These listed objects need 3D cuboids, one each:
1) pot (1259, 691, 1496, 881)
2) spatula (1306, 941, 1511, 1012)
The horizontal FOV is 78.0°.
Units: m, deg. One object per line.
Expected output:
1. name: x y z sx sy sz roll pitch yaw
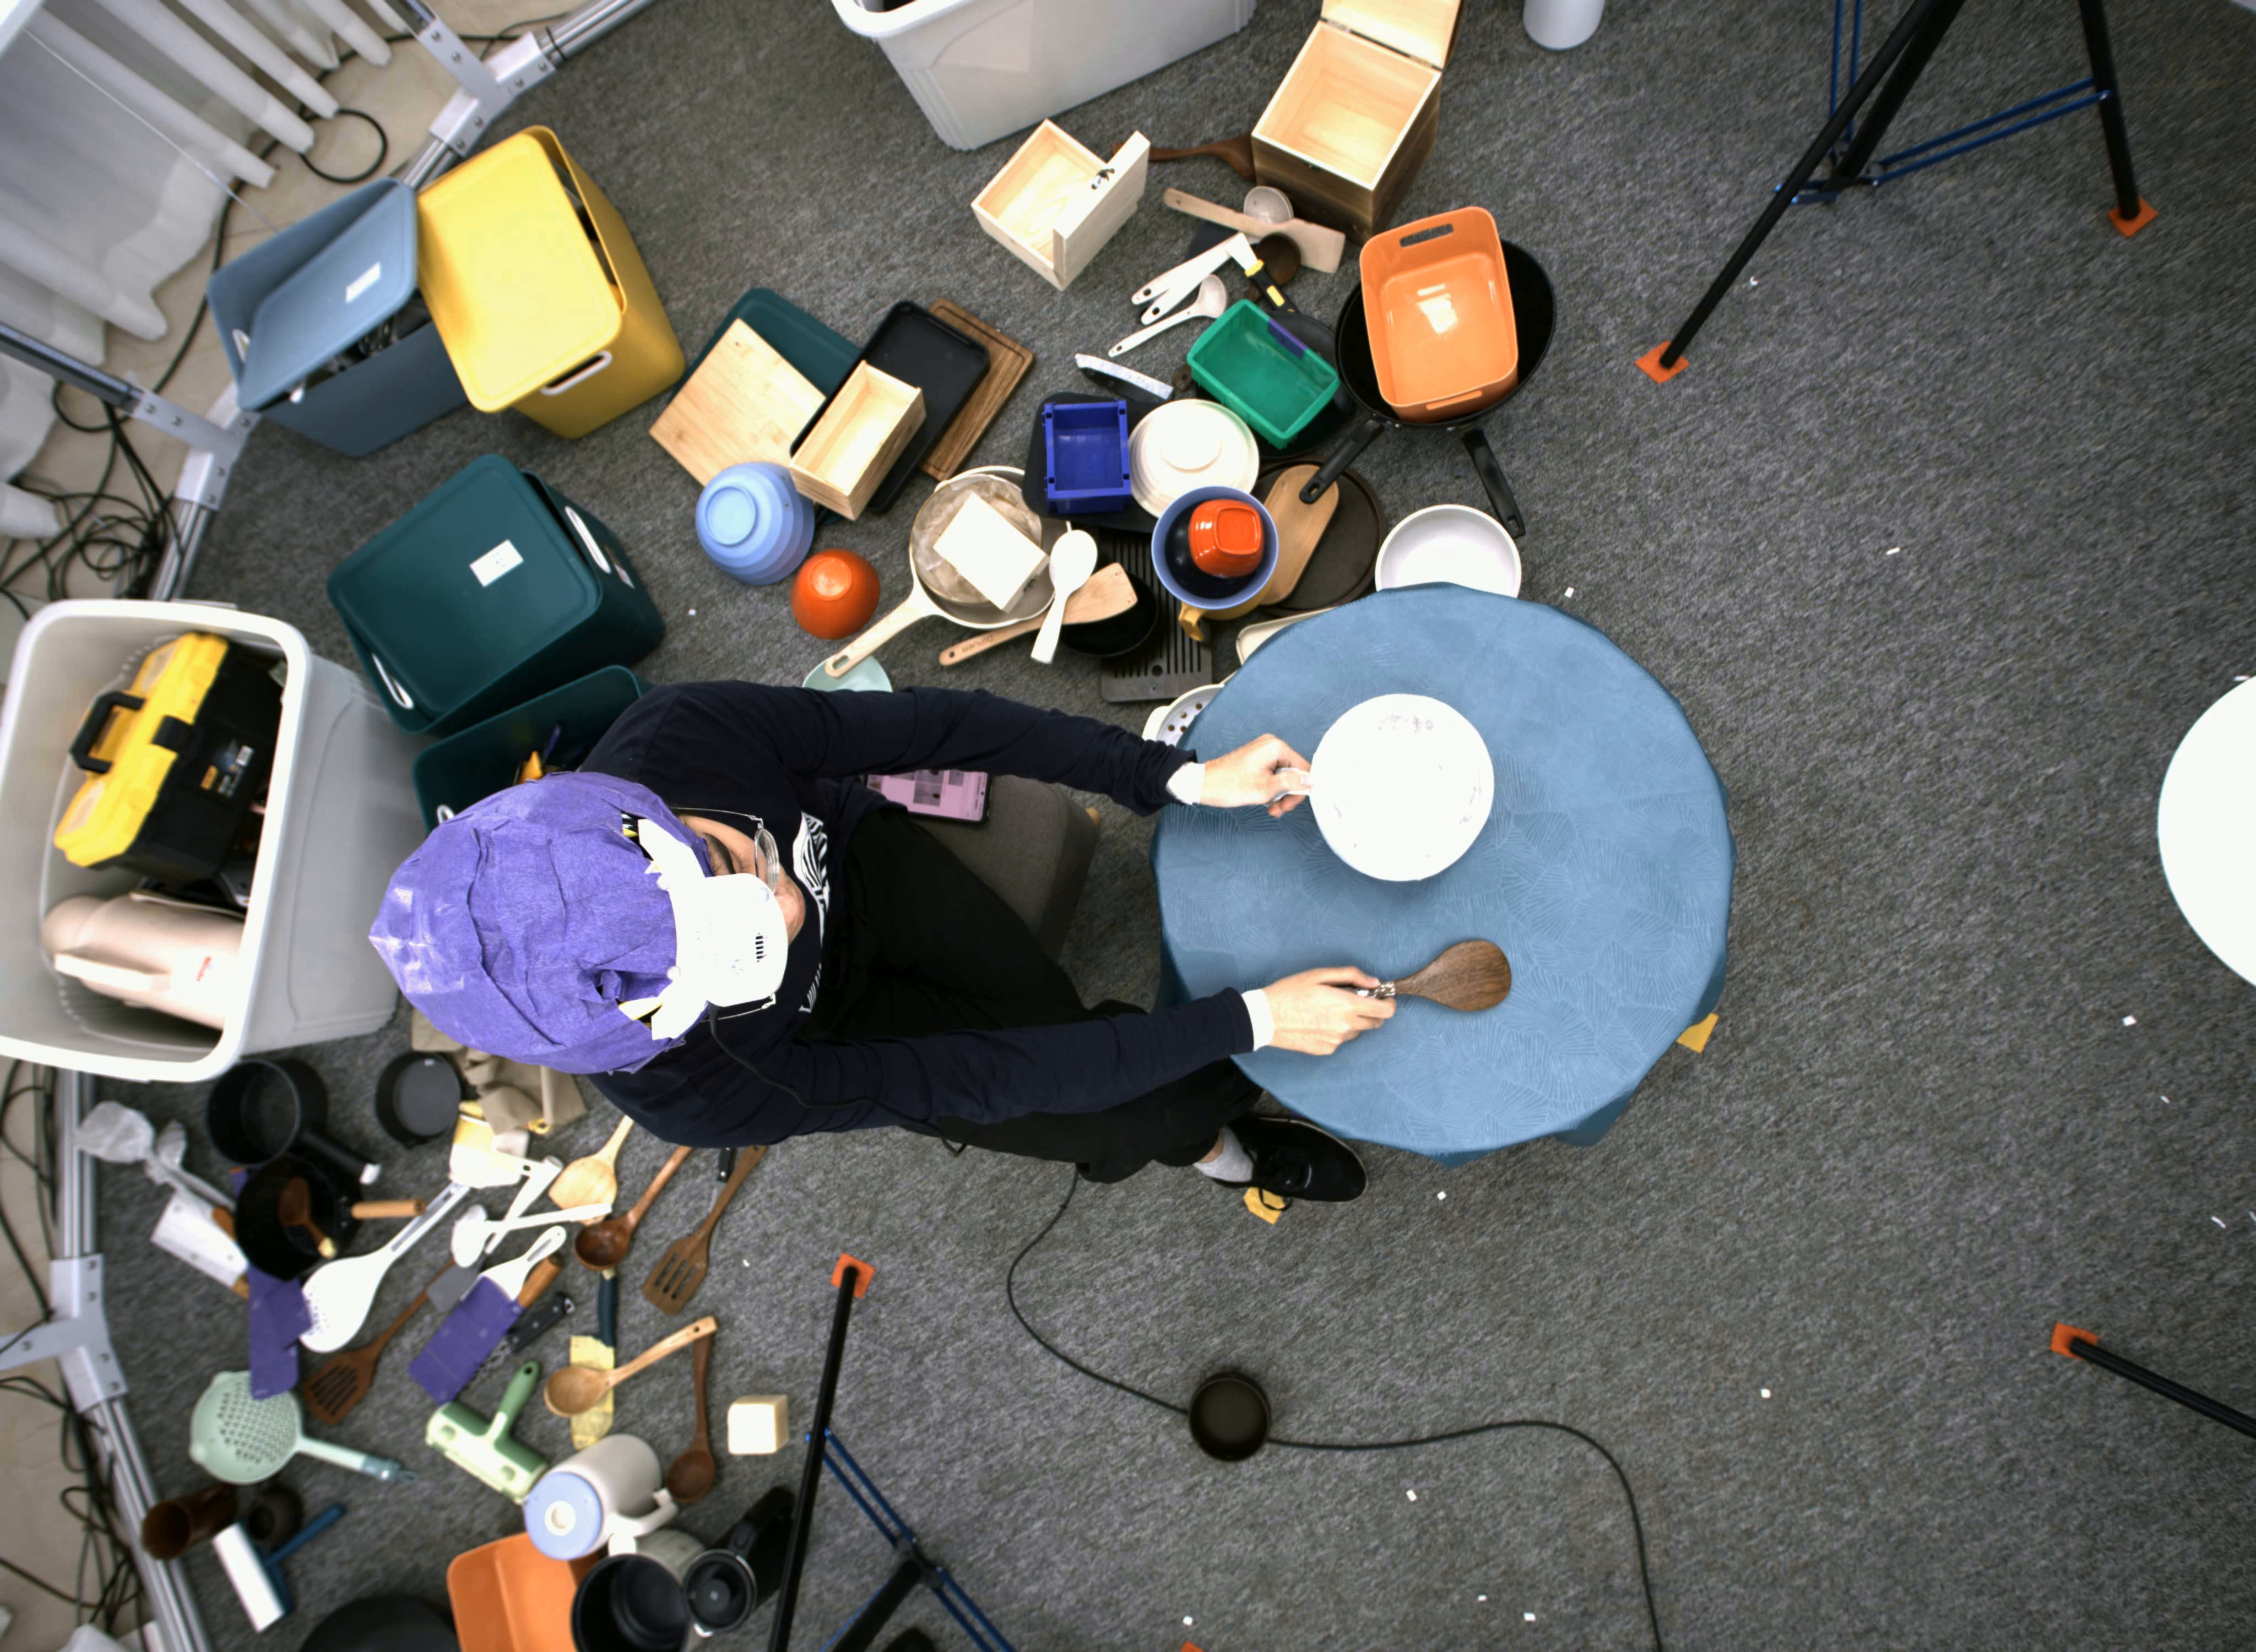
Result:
1. pot: 0.248 -0.037 1.399 0.234 0.137 0.177 2 83 9
2. spatula: 0.290 0.164 1.433 0.216 0.009 0.071 -9 79 3
